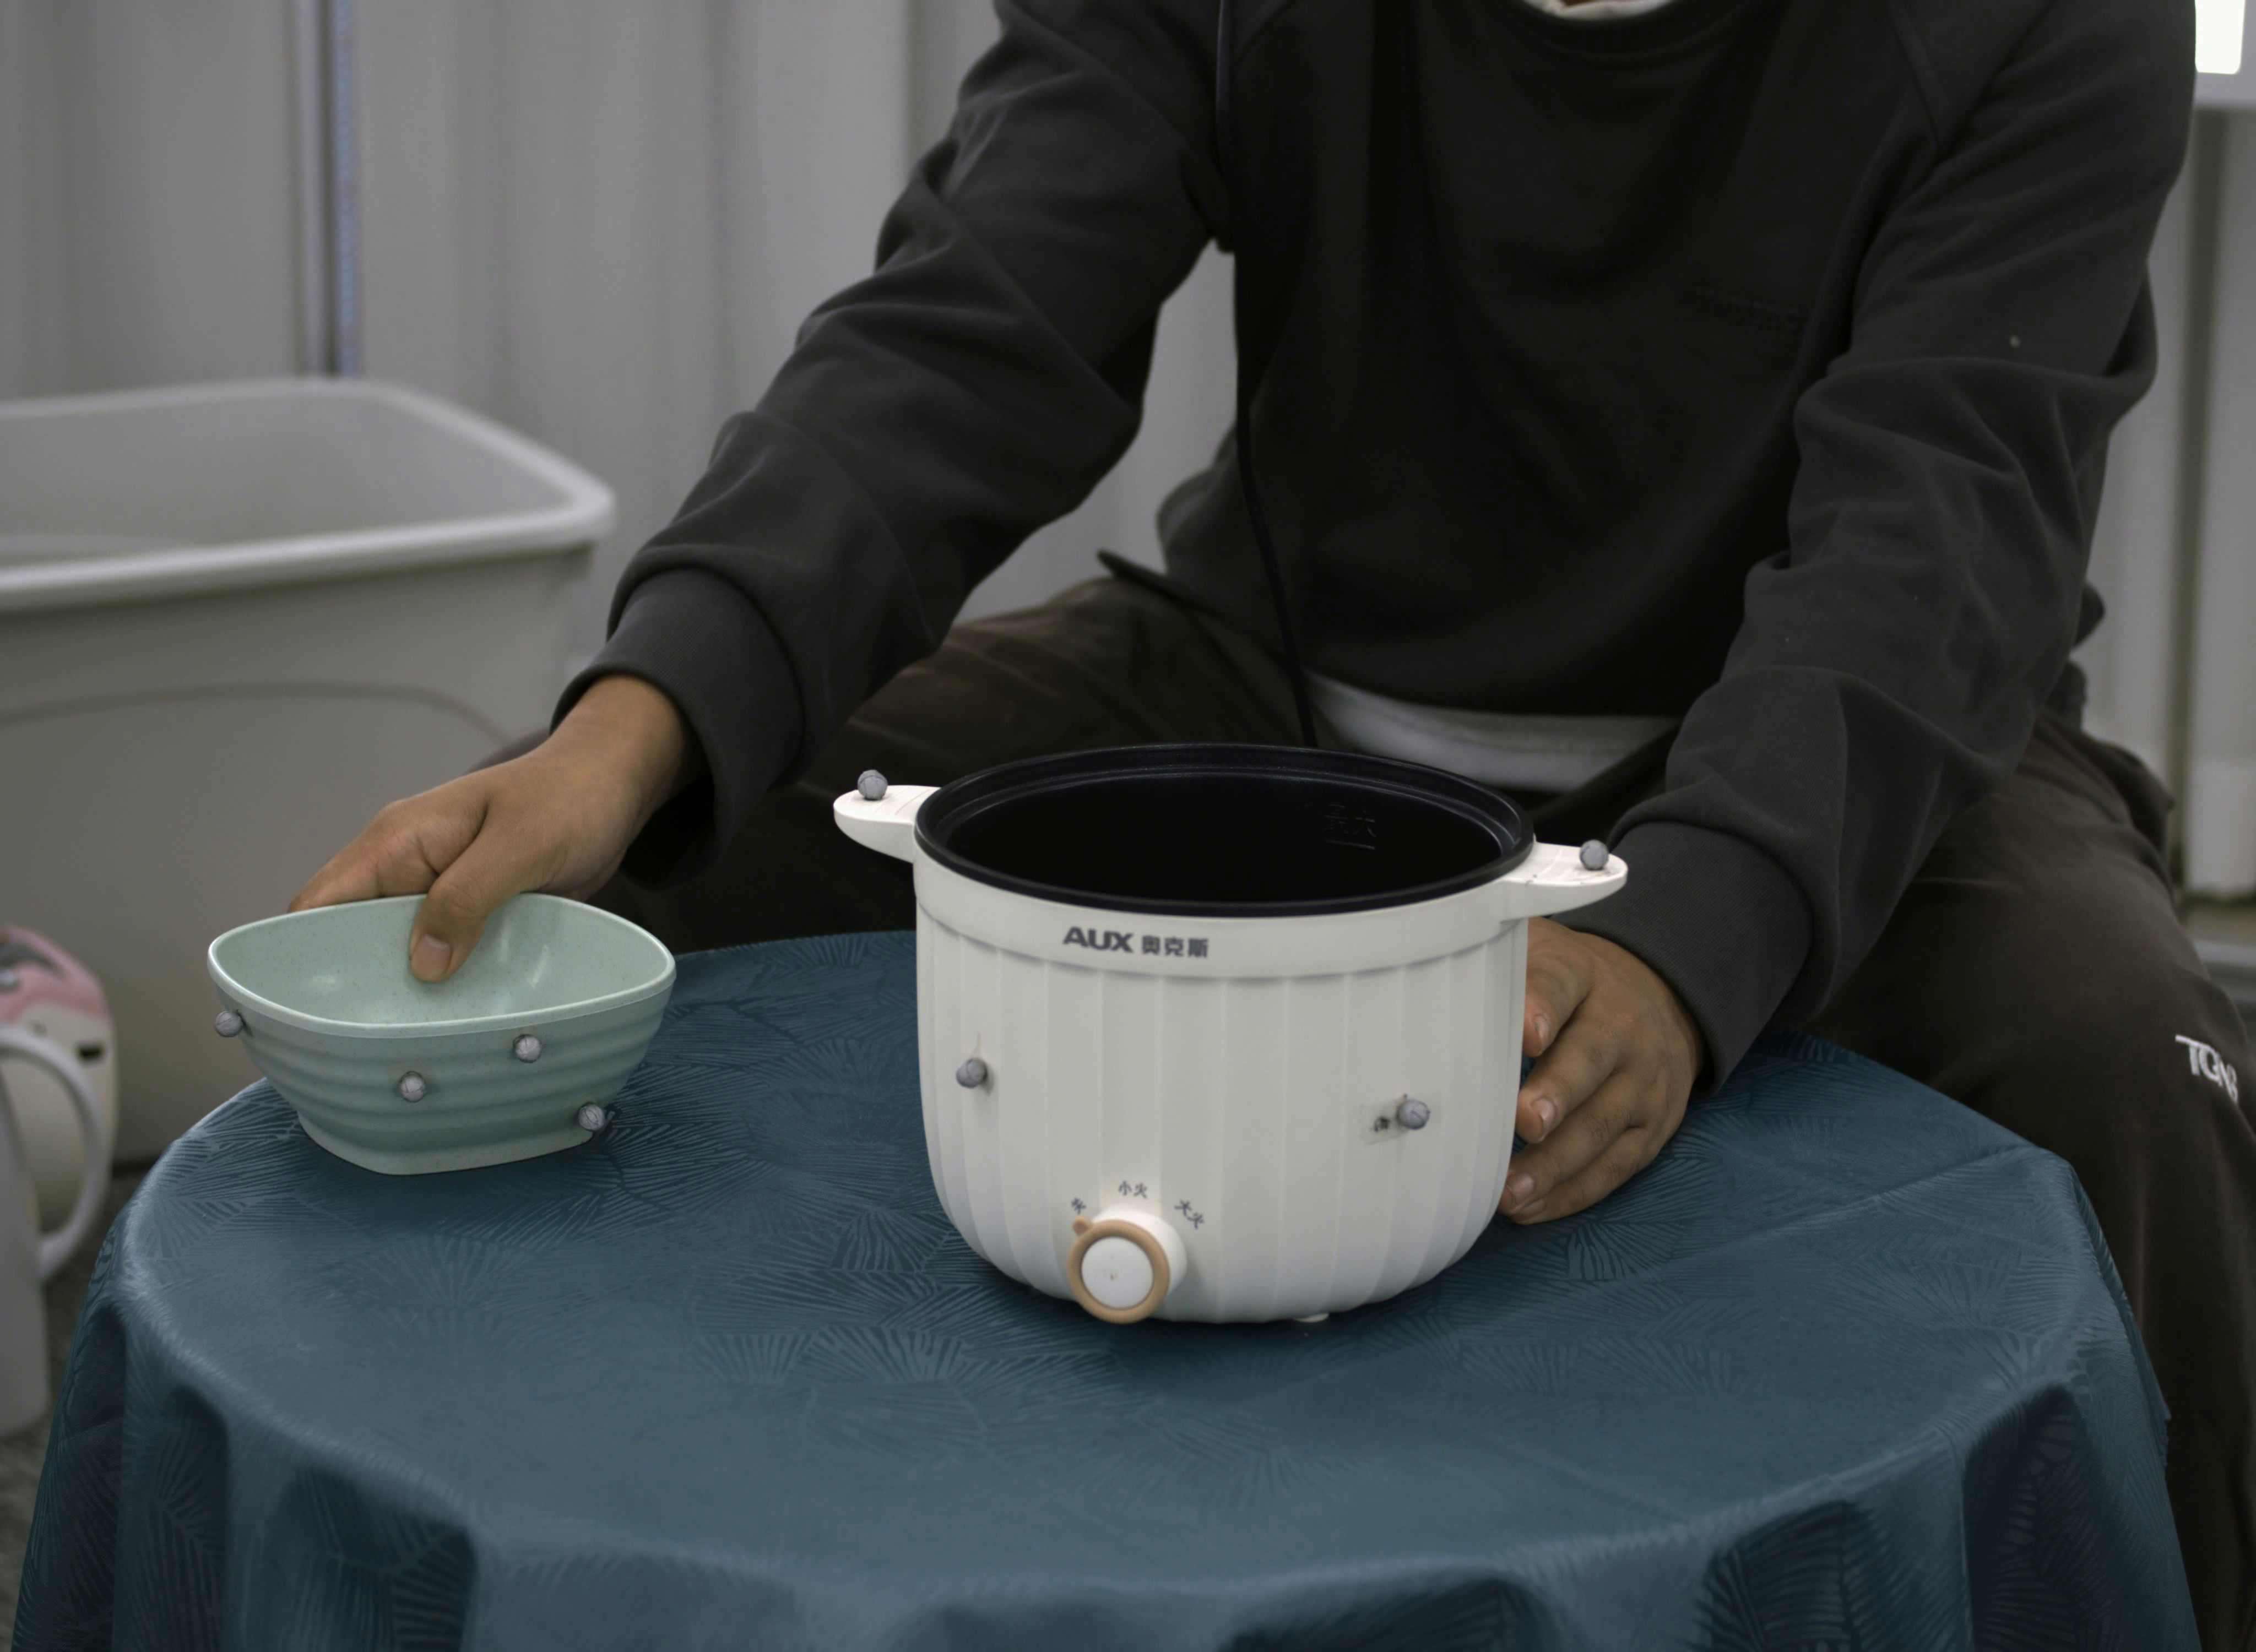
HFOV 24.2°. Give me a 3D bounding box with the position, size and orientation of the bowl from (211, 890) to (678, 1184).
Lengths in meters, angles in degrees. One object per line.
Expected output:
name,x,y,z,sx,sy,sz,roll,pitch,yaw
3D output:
bowl,-0.216,0.069,1.667,0.151,0.059,0.150,2,17,0

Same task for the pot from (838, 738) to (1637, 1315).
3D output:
pot,0.029,0.062,1.547,0.238,0.143,0.190,3,13,15
